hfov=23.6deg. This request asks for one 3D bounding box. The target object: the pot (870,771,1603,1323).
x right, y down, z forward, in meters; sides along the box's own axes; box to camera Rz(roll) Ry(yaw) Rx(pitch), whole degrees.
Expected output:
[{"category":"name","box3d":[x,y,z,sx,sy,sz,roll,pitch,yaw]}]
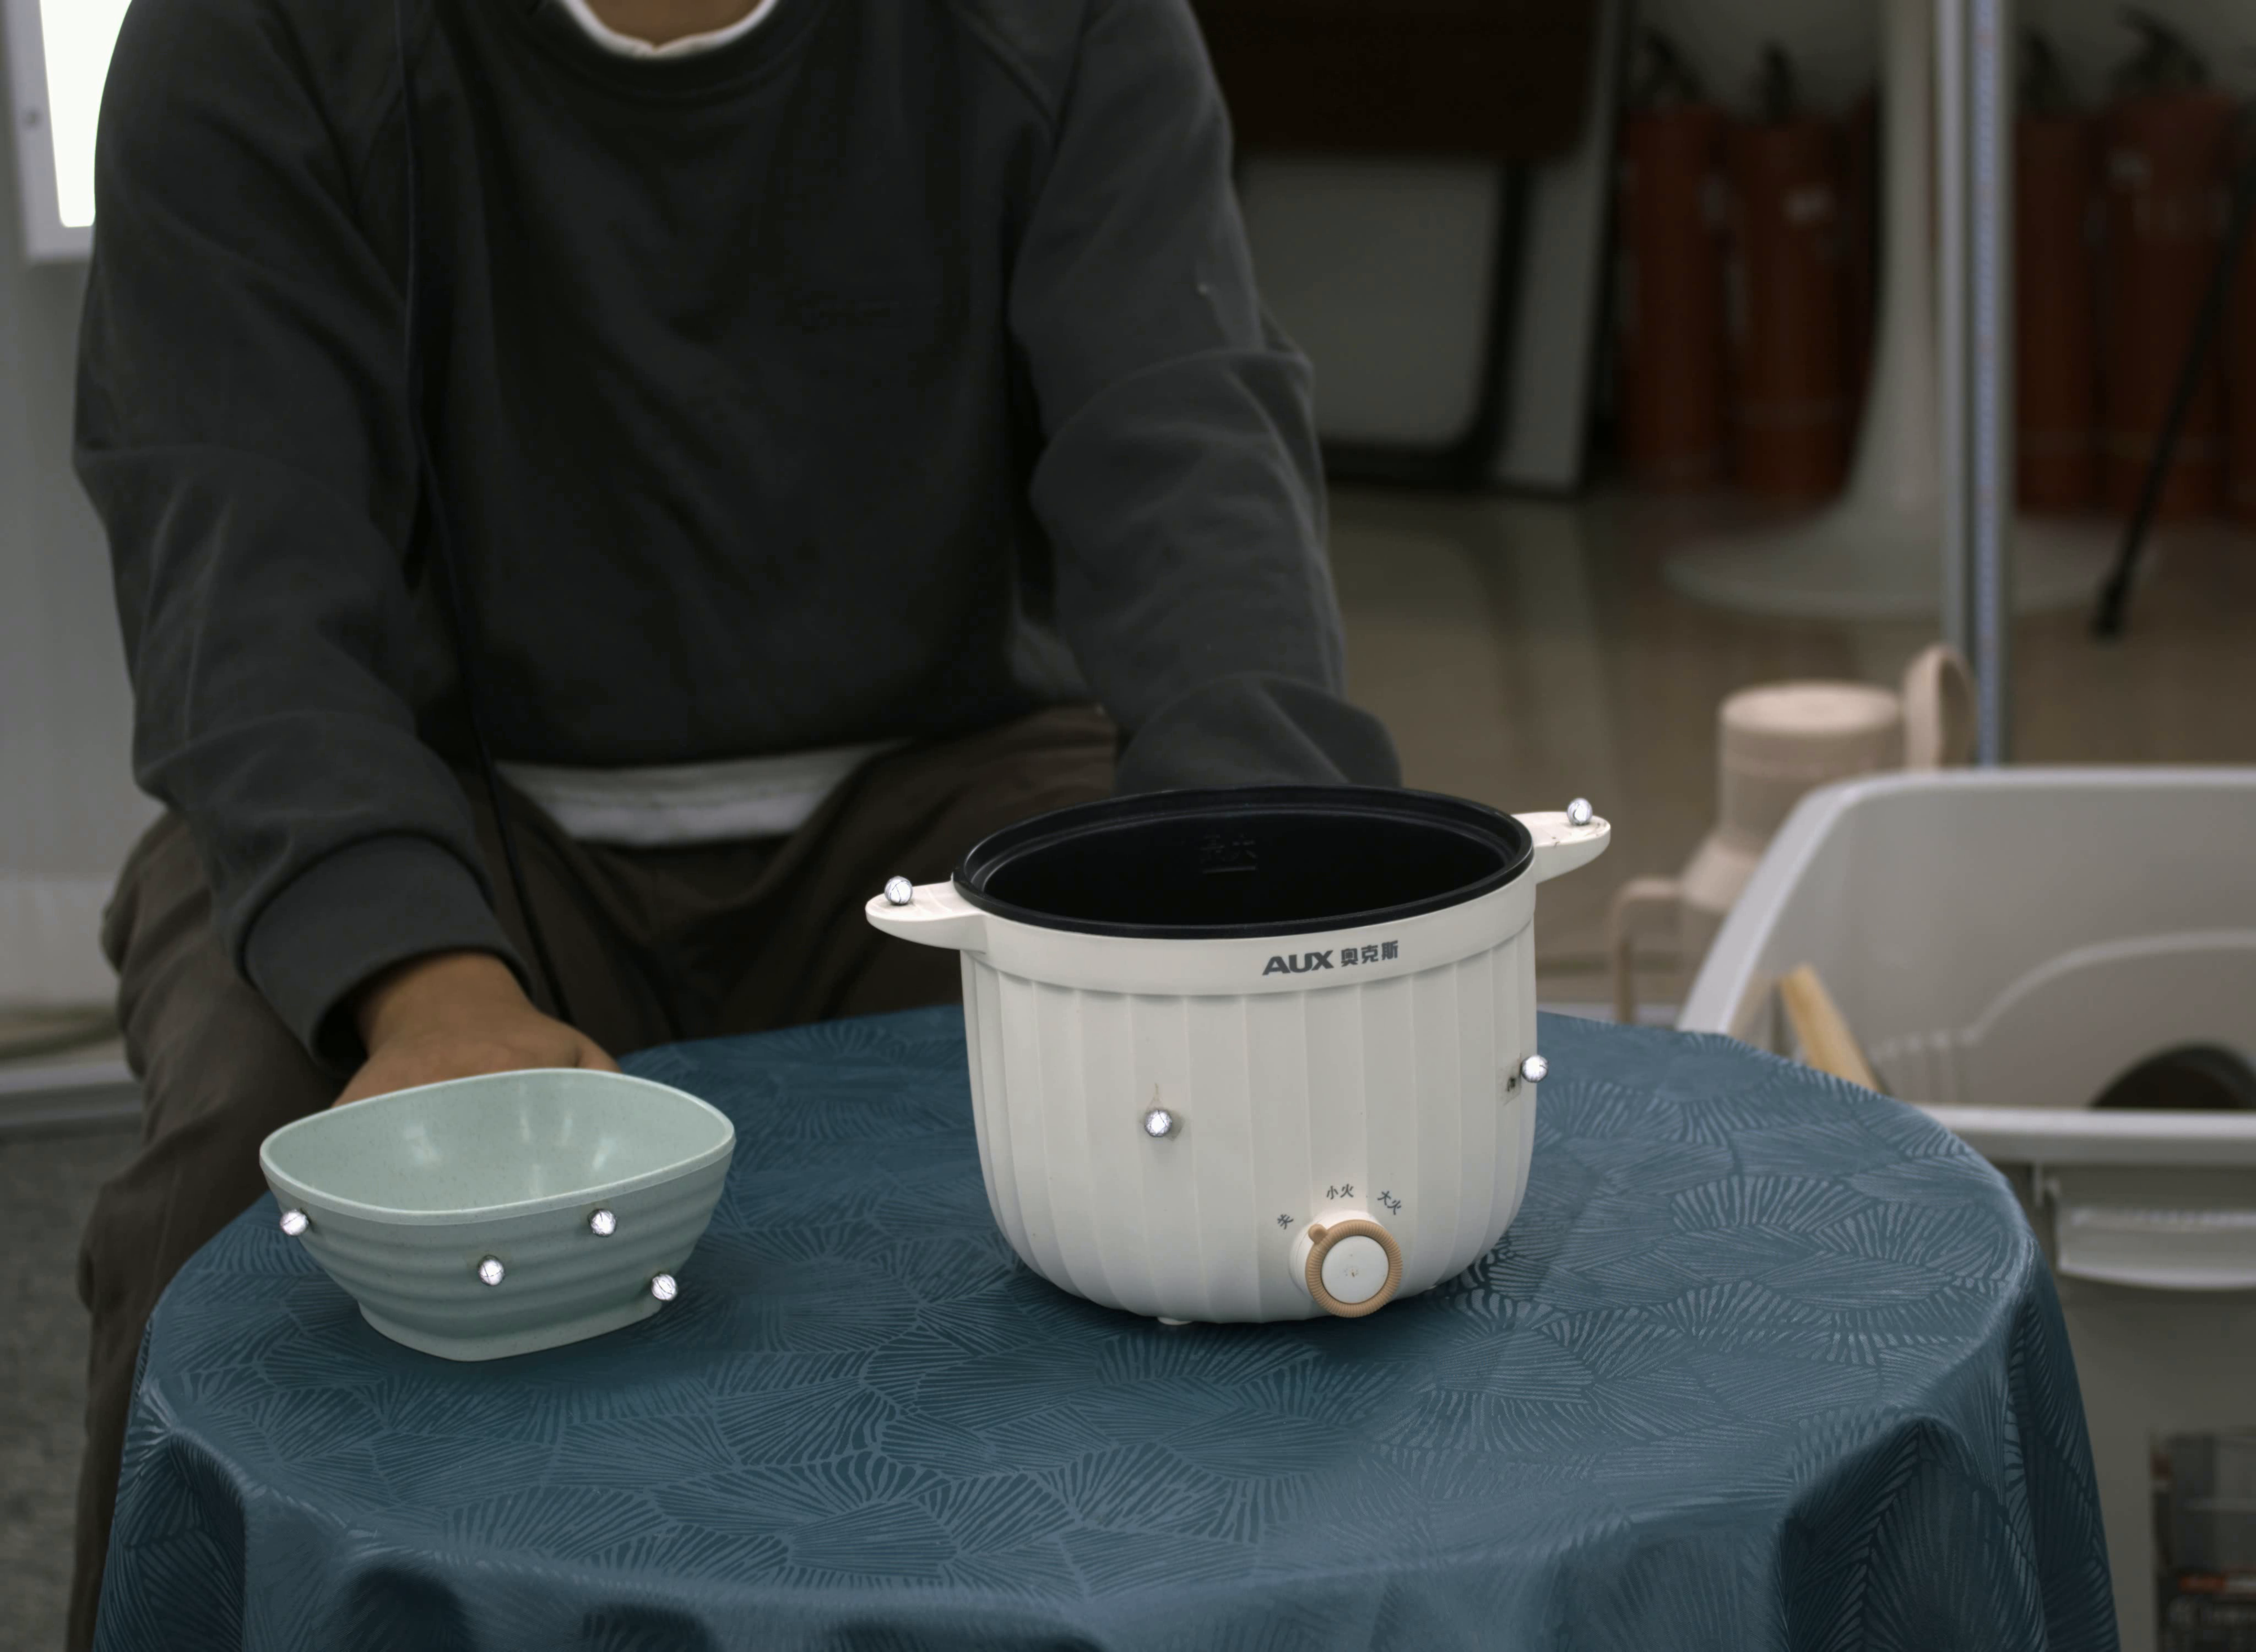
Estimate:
[{"category":"pot","box3d":[0.043,0.070,1.672,0.236,0.144,0.192,-9,11,-14]}]

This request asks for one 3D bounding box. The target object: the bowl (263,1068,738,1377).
[{"category":"bowl","box3d":[-0.194,0.127,1.689,0.149,0.059,0.152,-3,15,0]}]
